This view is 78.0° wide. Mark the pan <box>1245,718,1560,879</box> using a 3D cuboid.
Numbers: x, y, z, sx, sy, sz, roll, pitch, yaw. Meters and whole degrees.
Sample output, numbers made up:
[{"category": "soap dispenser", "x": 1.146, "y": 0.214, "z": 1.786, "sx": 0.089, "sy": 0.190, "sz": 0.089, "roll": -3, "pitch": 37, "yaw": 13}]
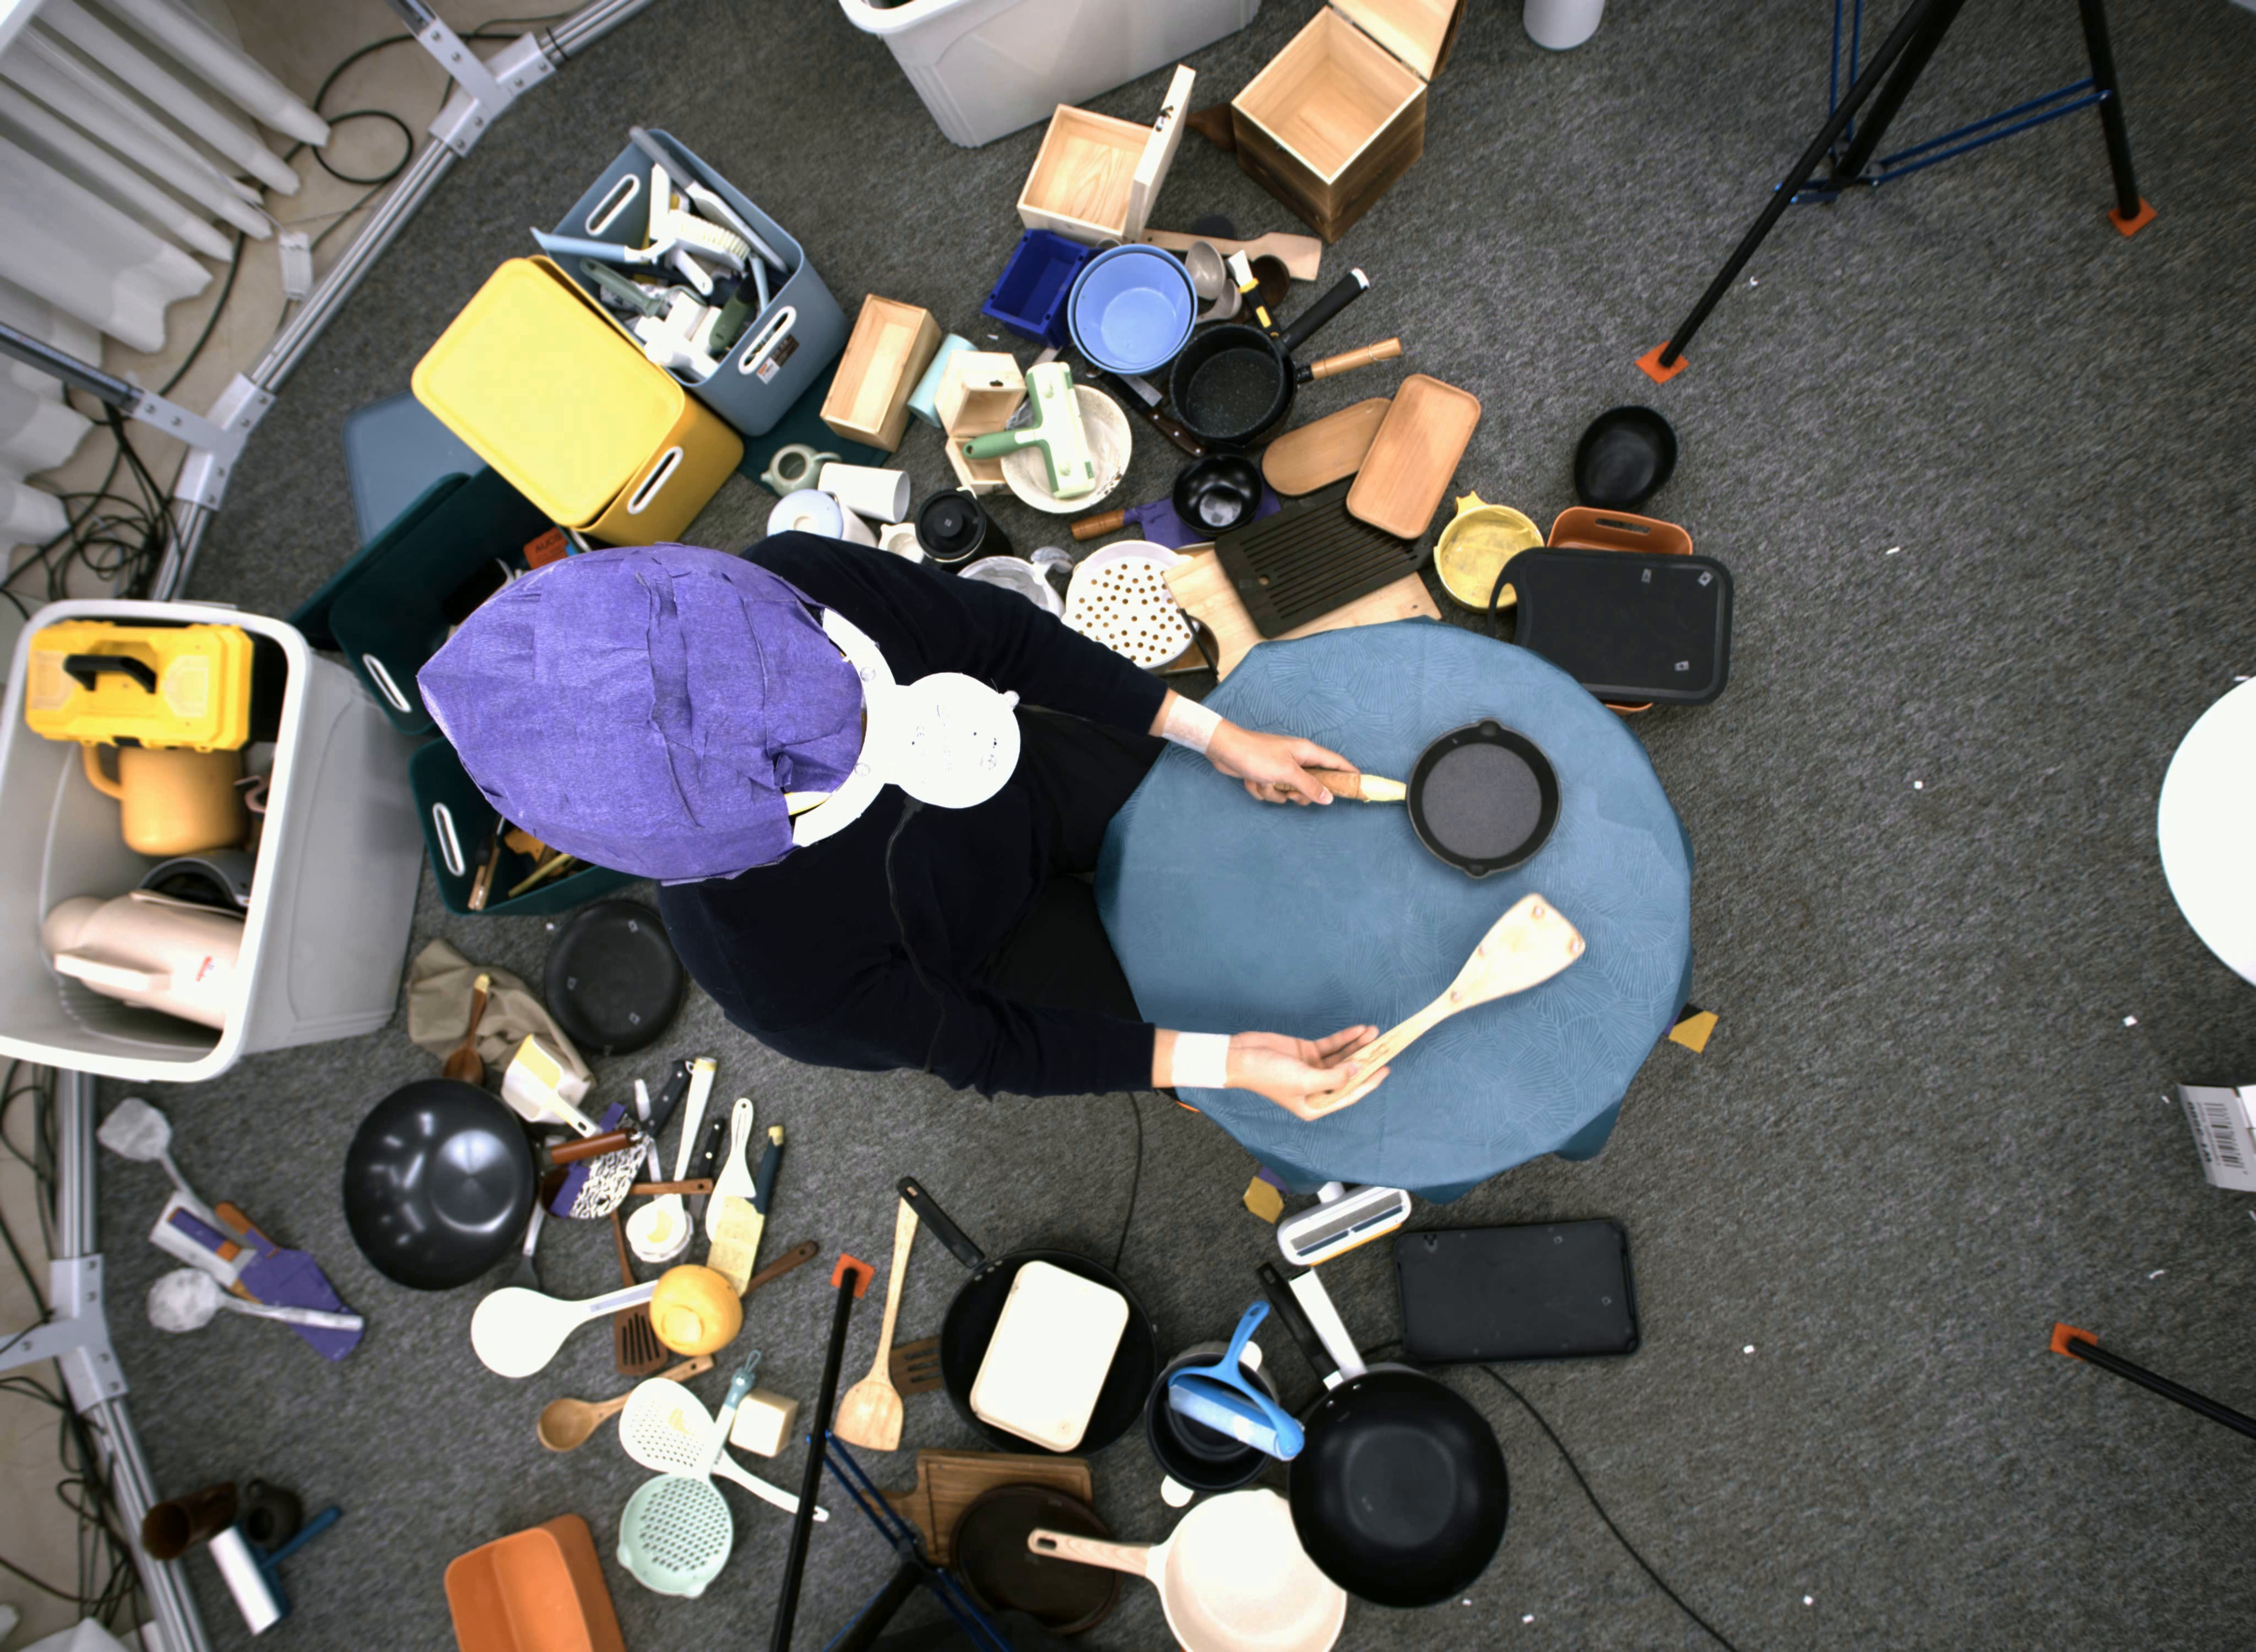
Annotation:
[{"category": "pan", "x": 0.284, "y": -0.041, "z": 1.438, "sx": 0.325, "sy": 0.049, "sz": 0.168, "roll": 8, "pitch": 88, "yaw": 10}]

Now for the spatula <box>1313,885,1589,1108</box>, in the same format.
[{"category": "spatula", "x": 0.309, "y": 0.169, "z": 1.345, "sx": 0.325, "sy": 0.017, "sz": 0.079, "roll": -34, "pitch": 79, "yaw": -13}]
